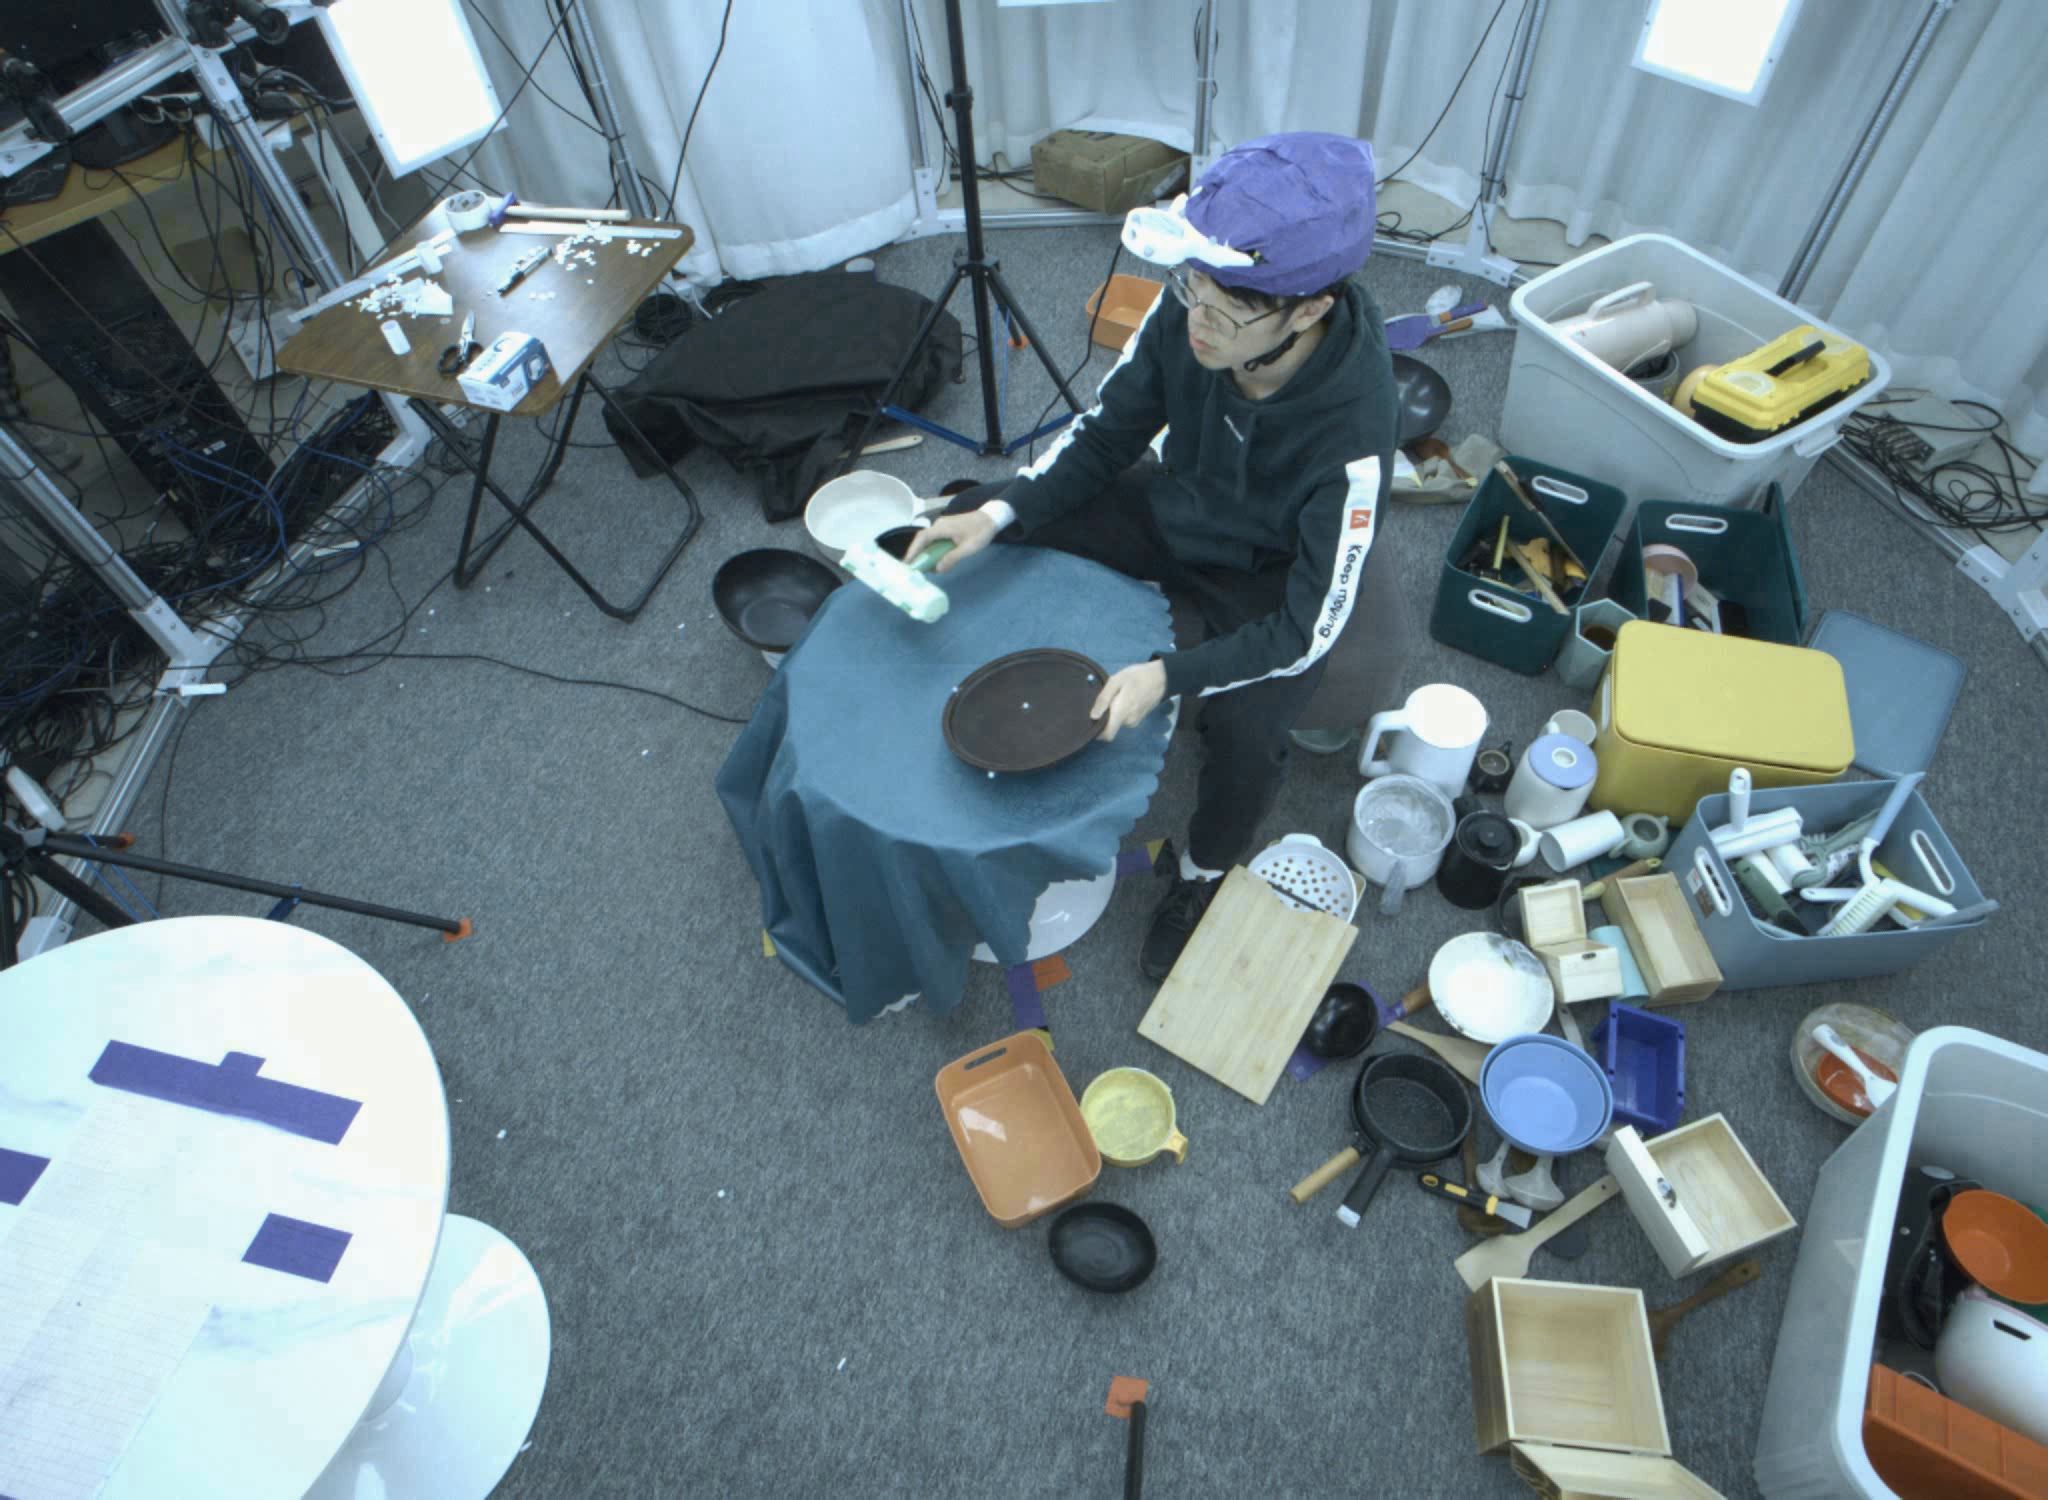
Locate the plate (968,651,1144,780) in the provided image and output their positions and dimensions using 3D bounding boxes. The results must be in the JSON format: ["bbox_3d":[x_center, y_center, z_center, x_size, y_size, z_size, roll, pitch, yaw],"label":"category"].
[{"bbox_3d":[0.046,-0.051,1.747,0.253,0.029,0.252,-8,44,9],"label":"plate"}]

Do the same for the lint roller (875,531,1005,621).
[{"bbox_3d":[-0.106,-0.301,1.875,0.184,0.083,0.194,-41,58,-17],"label":"lint roller"}]
